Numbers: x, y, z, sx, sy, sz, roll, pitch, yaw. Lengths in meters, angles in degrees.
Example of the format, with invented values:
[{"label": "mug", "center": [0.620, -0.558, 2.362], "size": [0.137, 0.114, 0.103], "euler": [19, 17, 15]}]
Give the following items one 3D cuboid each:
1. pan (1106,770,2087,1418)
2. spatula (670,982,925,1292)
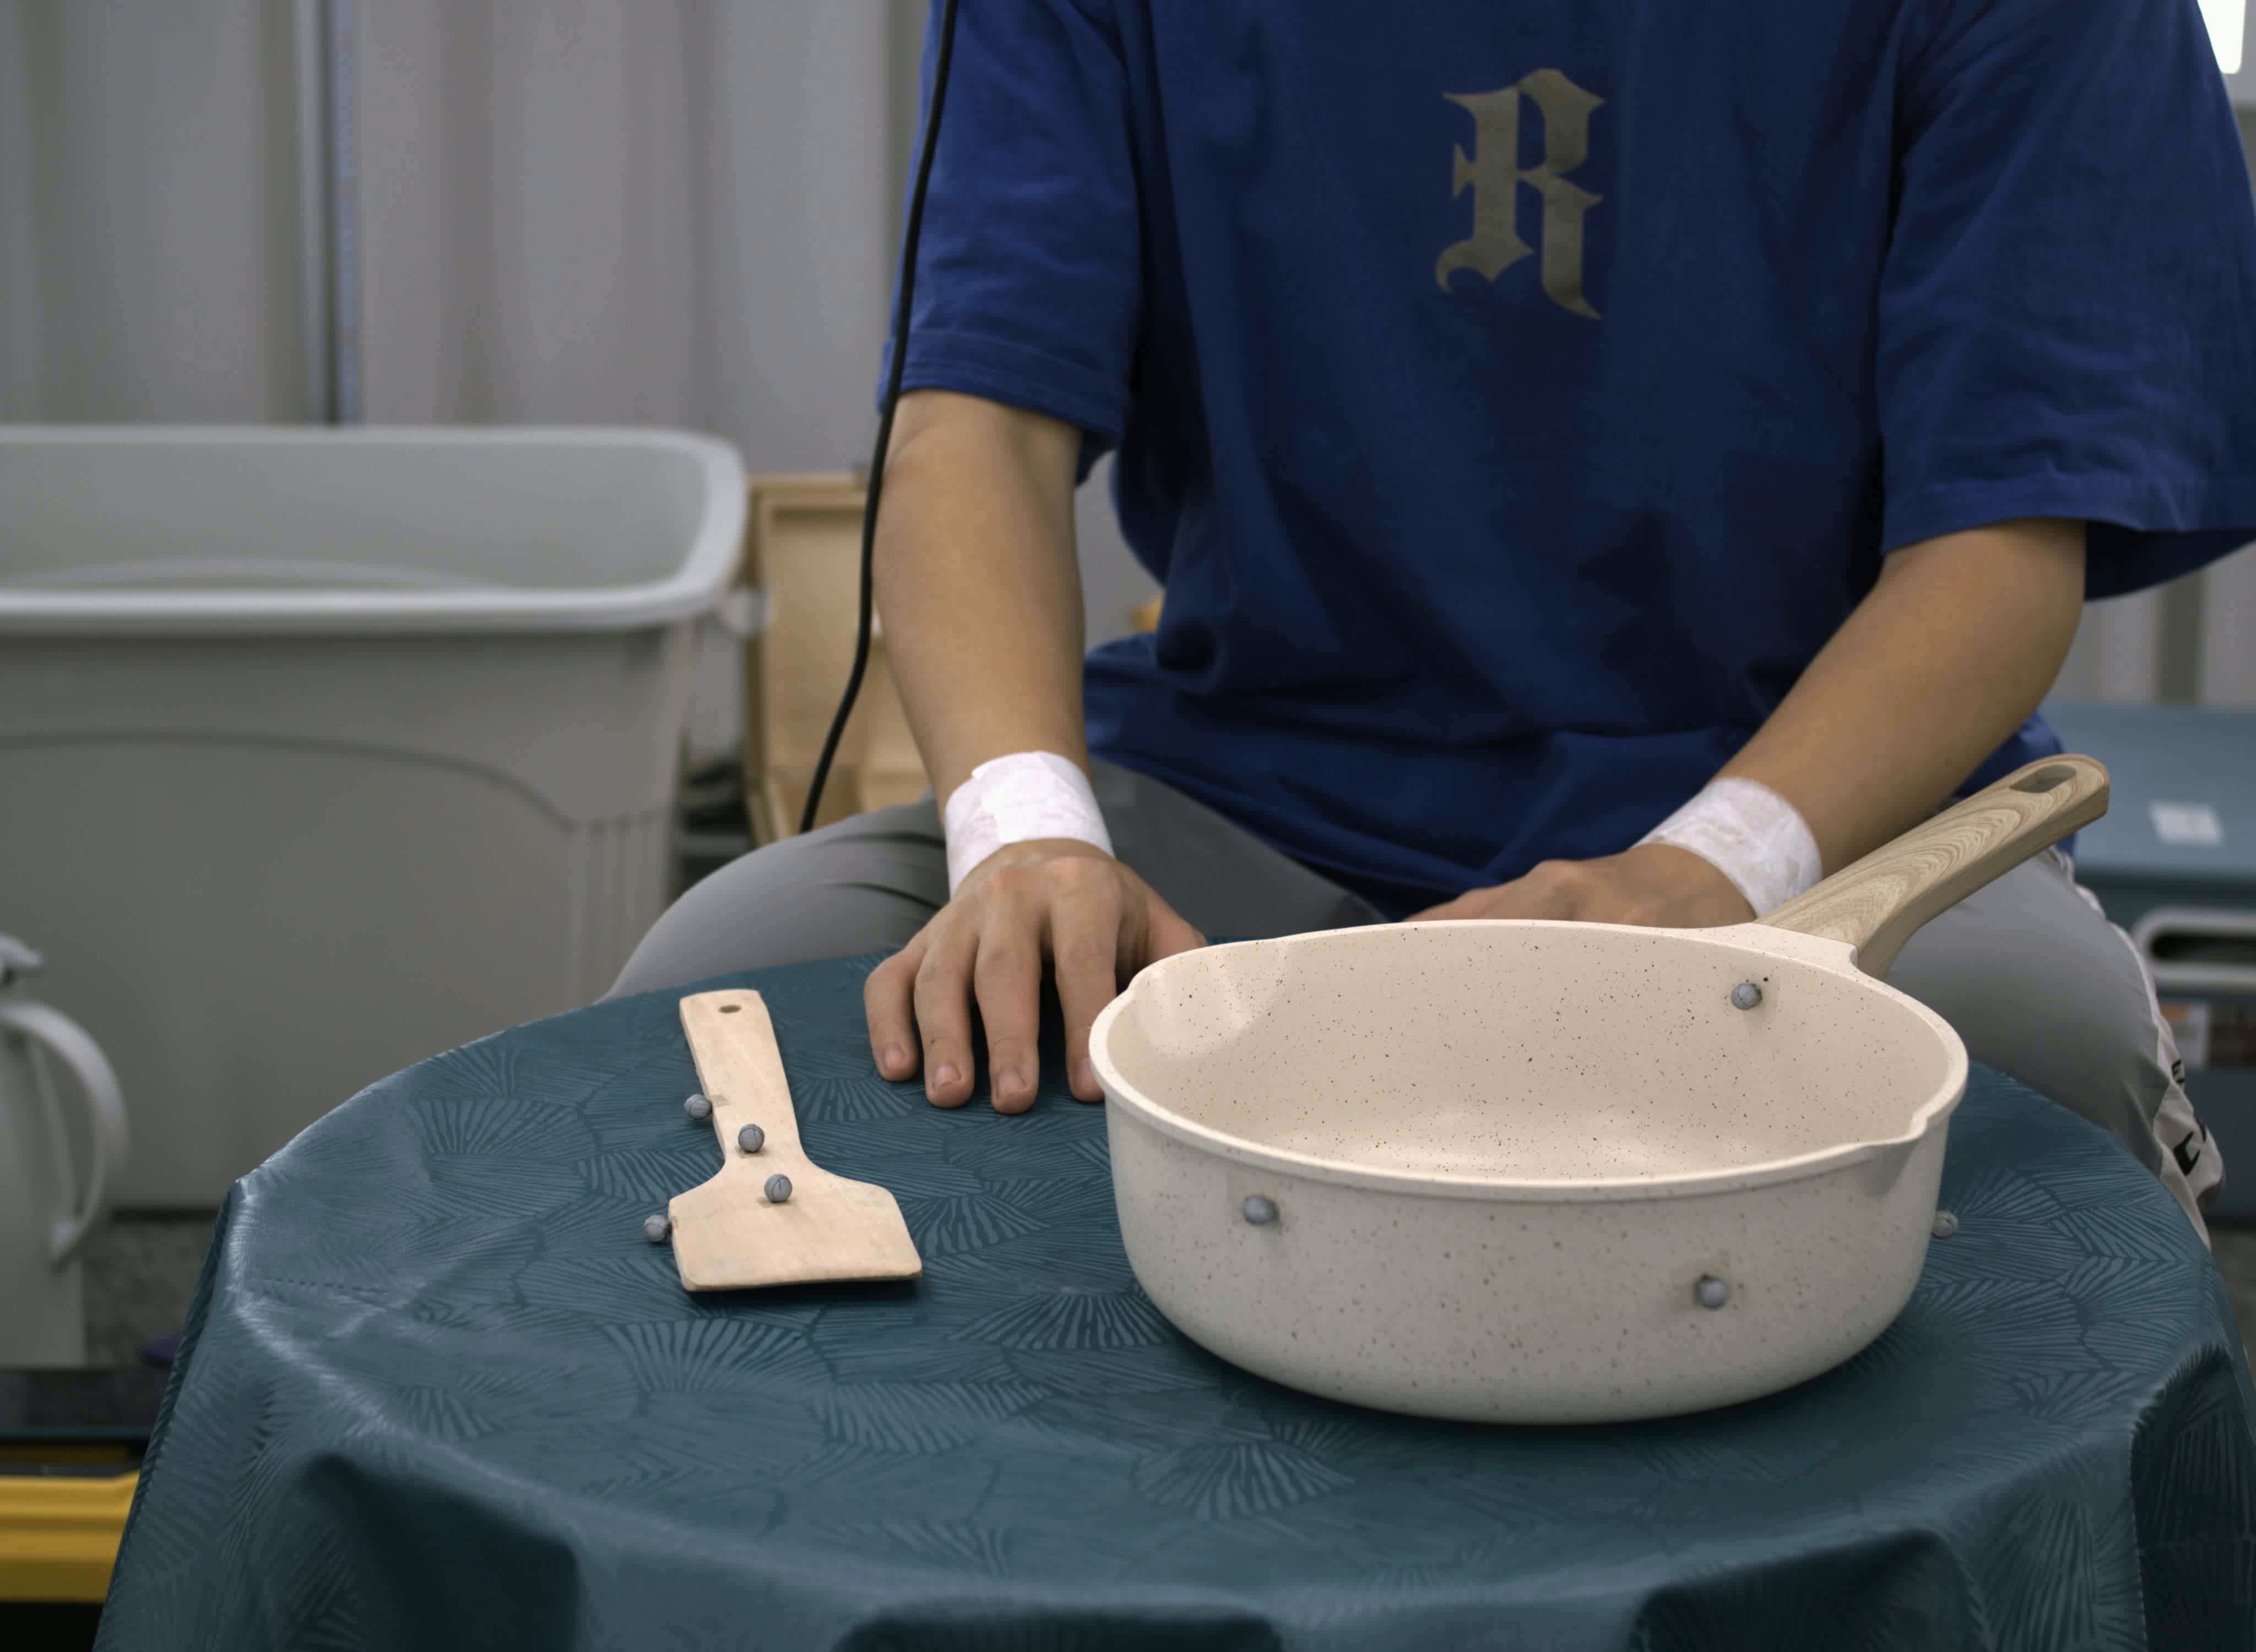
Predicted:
[{"label": "pan", "center": [0.176, 0.074, 1.579], "size": [0.260, 0.103, 0.437], "euler": [10, 18, 37]}, {"label": "spatula", "center": [-0.116, 0.095, 1.661], "size": [0.072, 0.011, 0.290], "euler": [-3, 16, -9]}]
